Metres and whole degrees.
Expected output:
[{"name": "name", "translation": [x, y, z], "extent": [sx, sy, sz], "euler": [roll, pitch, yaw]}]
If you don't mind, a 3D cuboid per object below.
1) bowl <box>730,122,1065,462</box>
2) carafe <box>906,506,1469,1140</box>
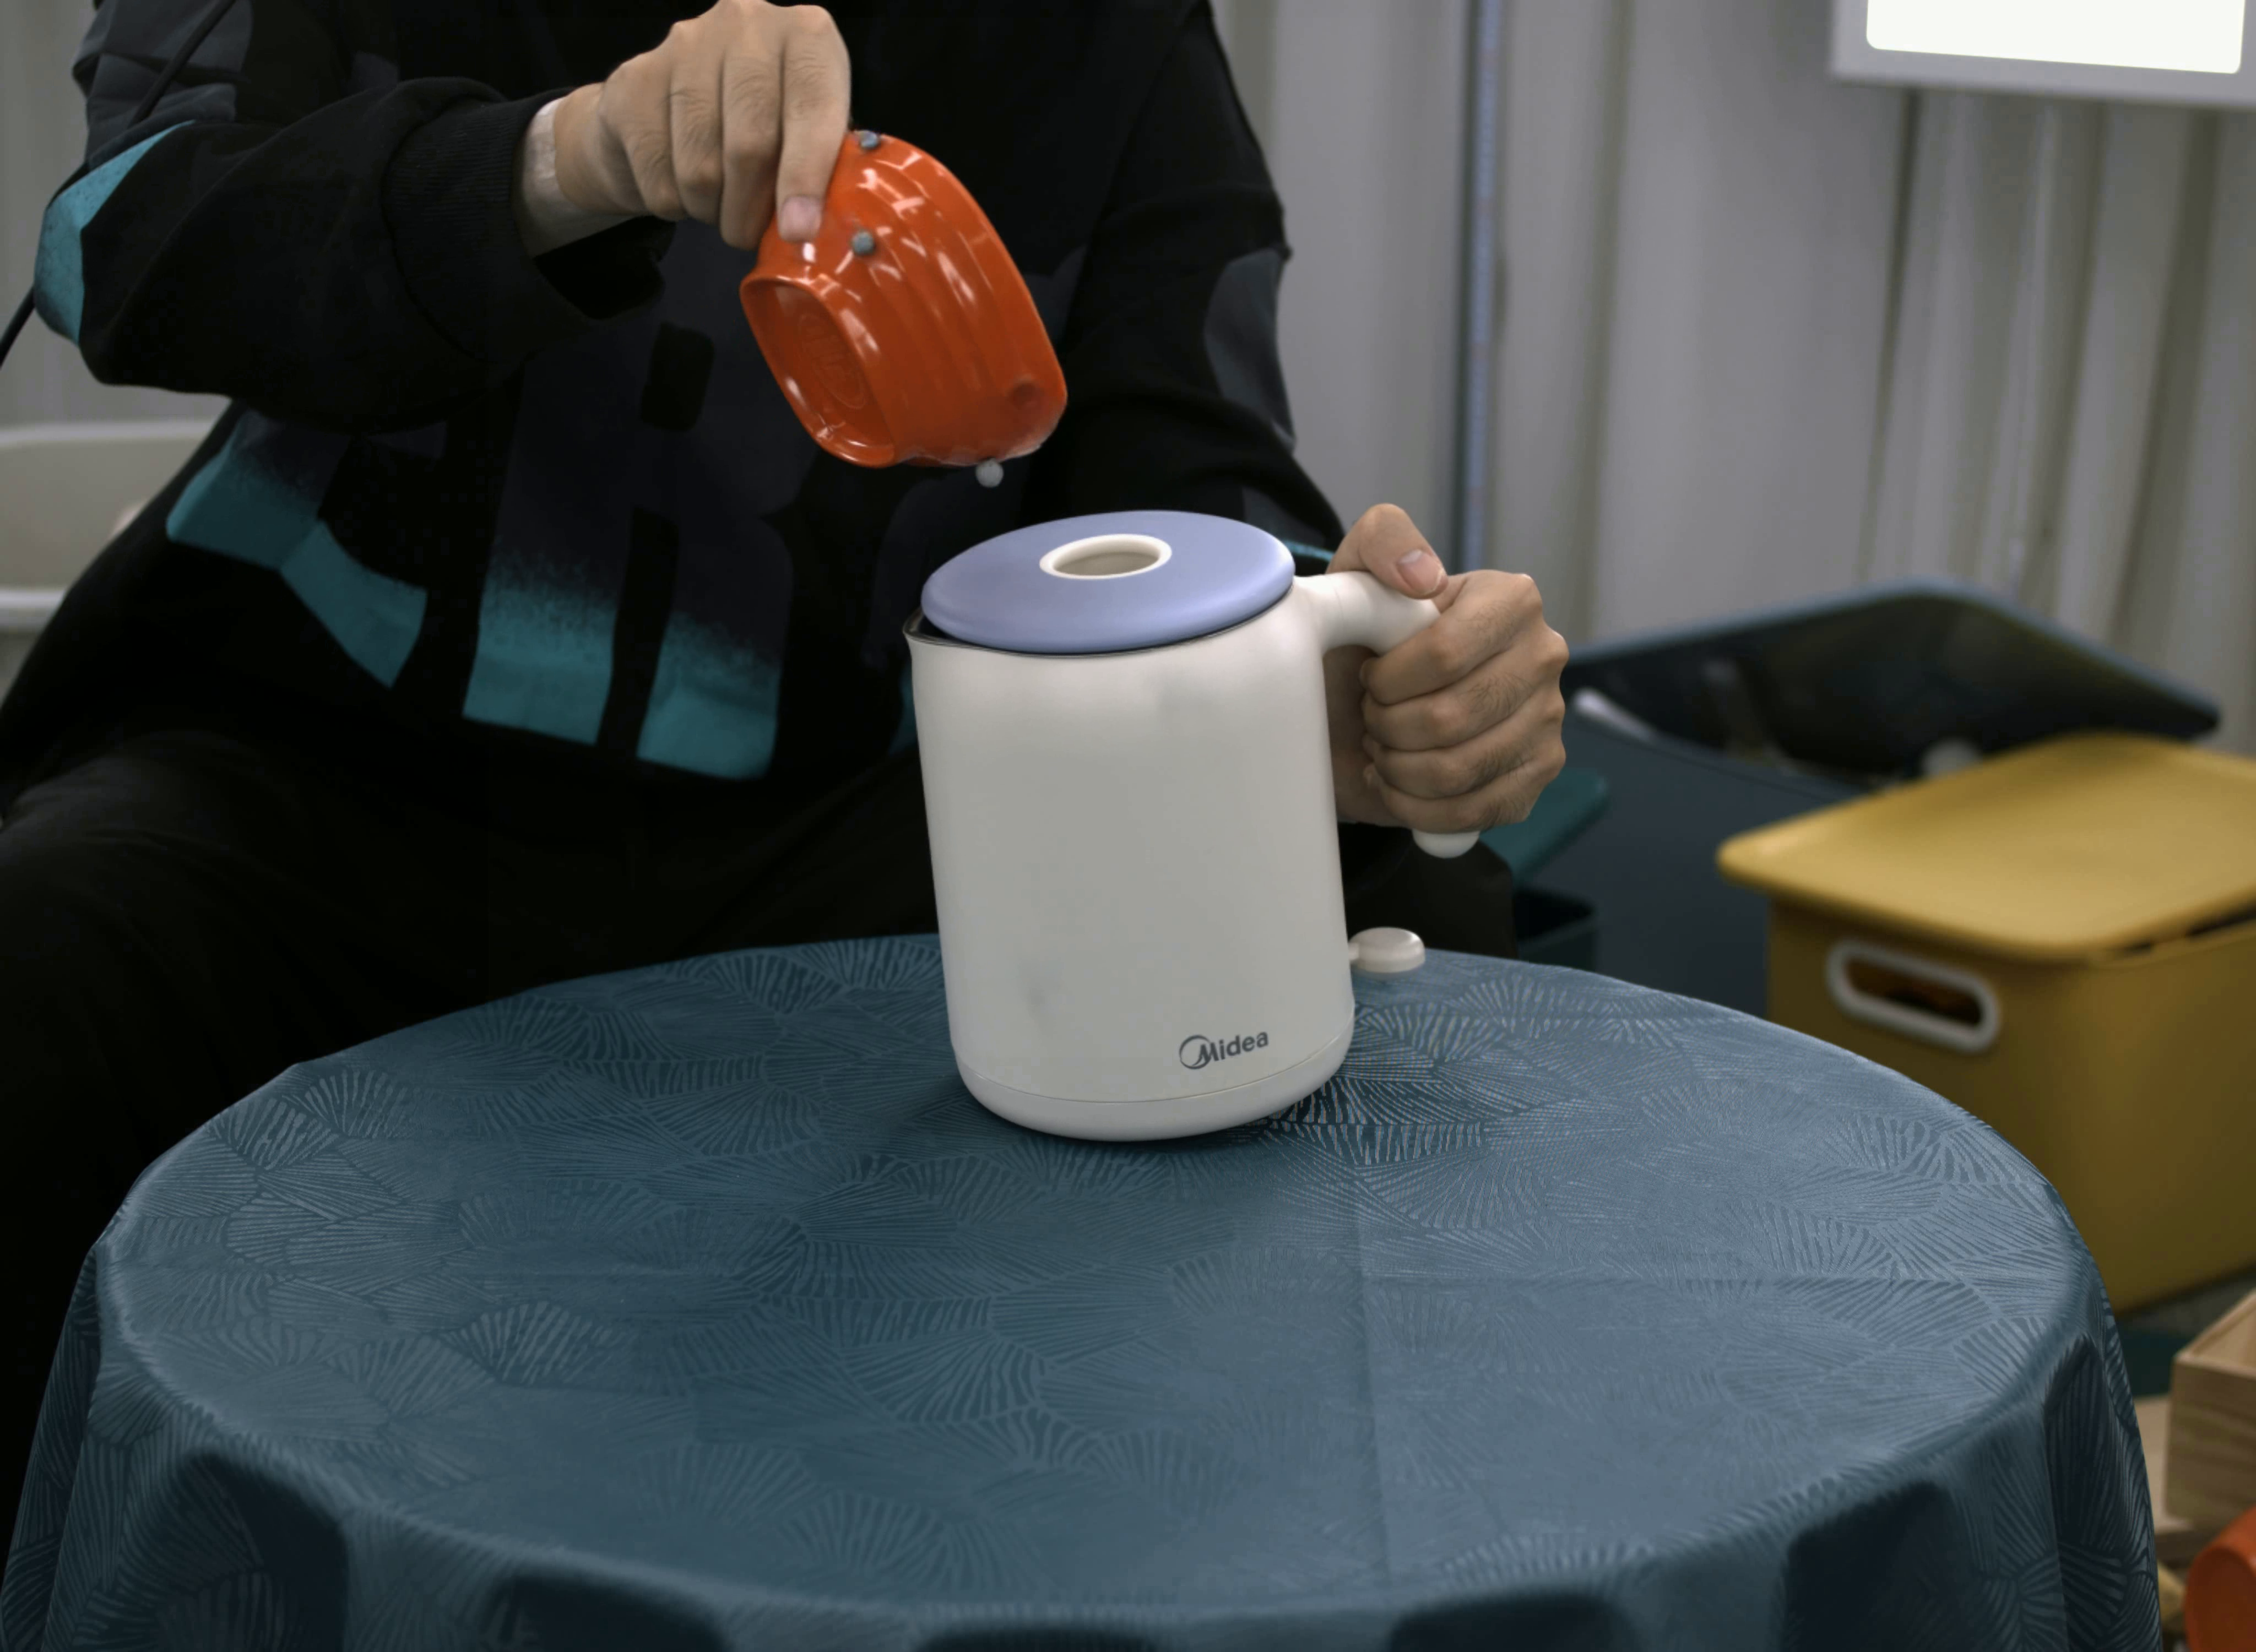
[{"name": "bowl", "translation": [-0.076, -0.151, 1.576], "extent": [0.051, 0.120, 0.117], "euler": [-39, 31, -16]}, {"name": "carafe", "translation": [0.023, -0.006, 1.687], "extent": [0.191, 0.184, 0.130], "euler": [-11, 24, -21]}]
